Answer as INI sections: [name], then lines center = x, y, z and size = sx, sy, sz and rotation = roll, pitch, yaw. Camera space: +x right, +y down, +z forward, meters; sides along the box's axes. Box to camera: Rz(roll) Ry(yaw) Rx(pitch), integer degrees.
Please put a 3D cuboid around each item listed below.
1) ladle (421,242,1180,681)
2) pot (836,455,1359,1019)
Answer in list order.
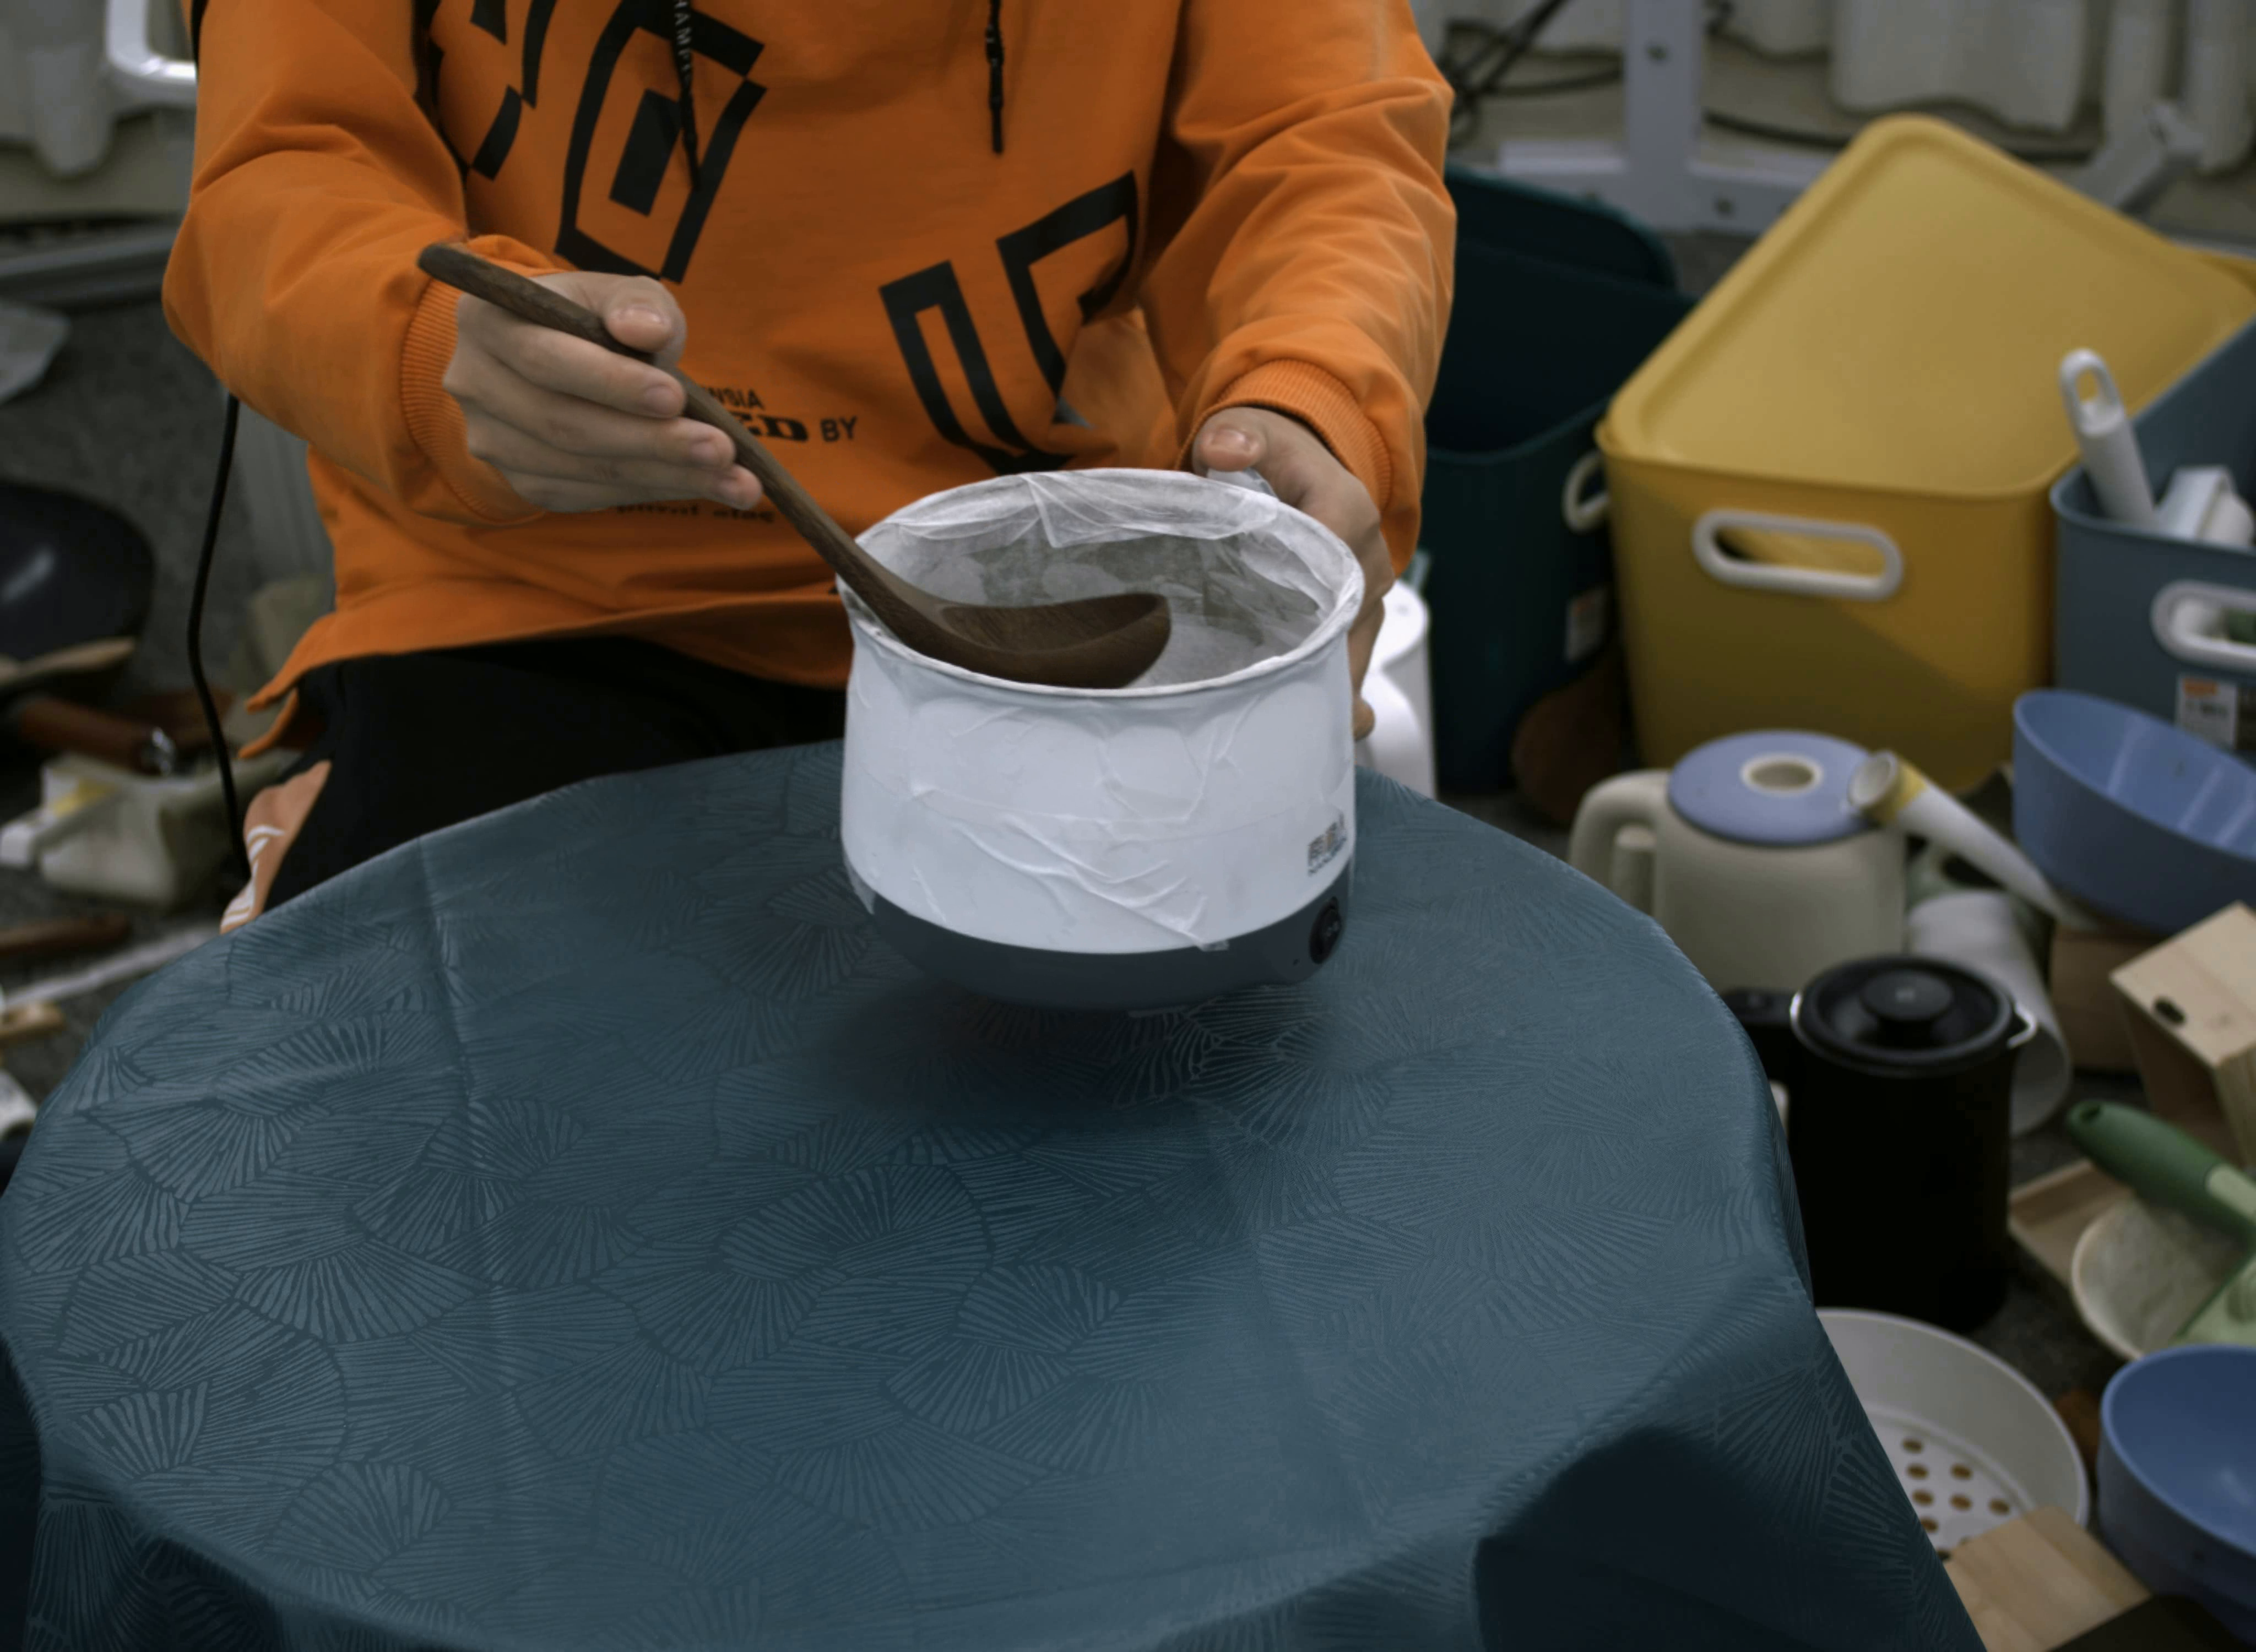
[ladle]
center = -0.104, -0.129, 1.857
size = 0.273, 0.071, 0.076
rotation = 39, 6, -6
[pot]
center = 0.001, -0.039, 1.938
size = 0.178, 0.135, 0.237
rotation = 13, 30, 22
